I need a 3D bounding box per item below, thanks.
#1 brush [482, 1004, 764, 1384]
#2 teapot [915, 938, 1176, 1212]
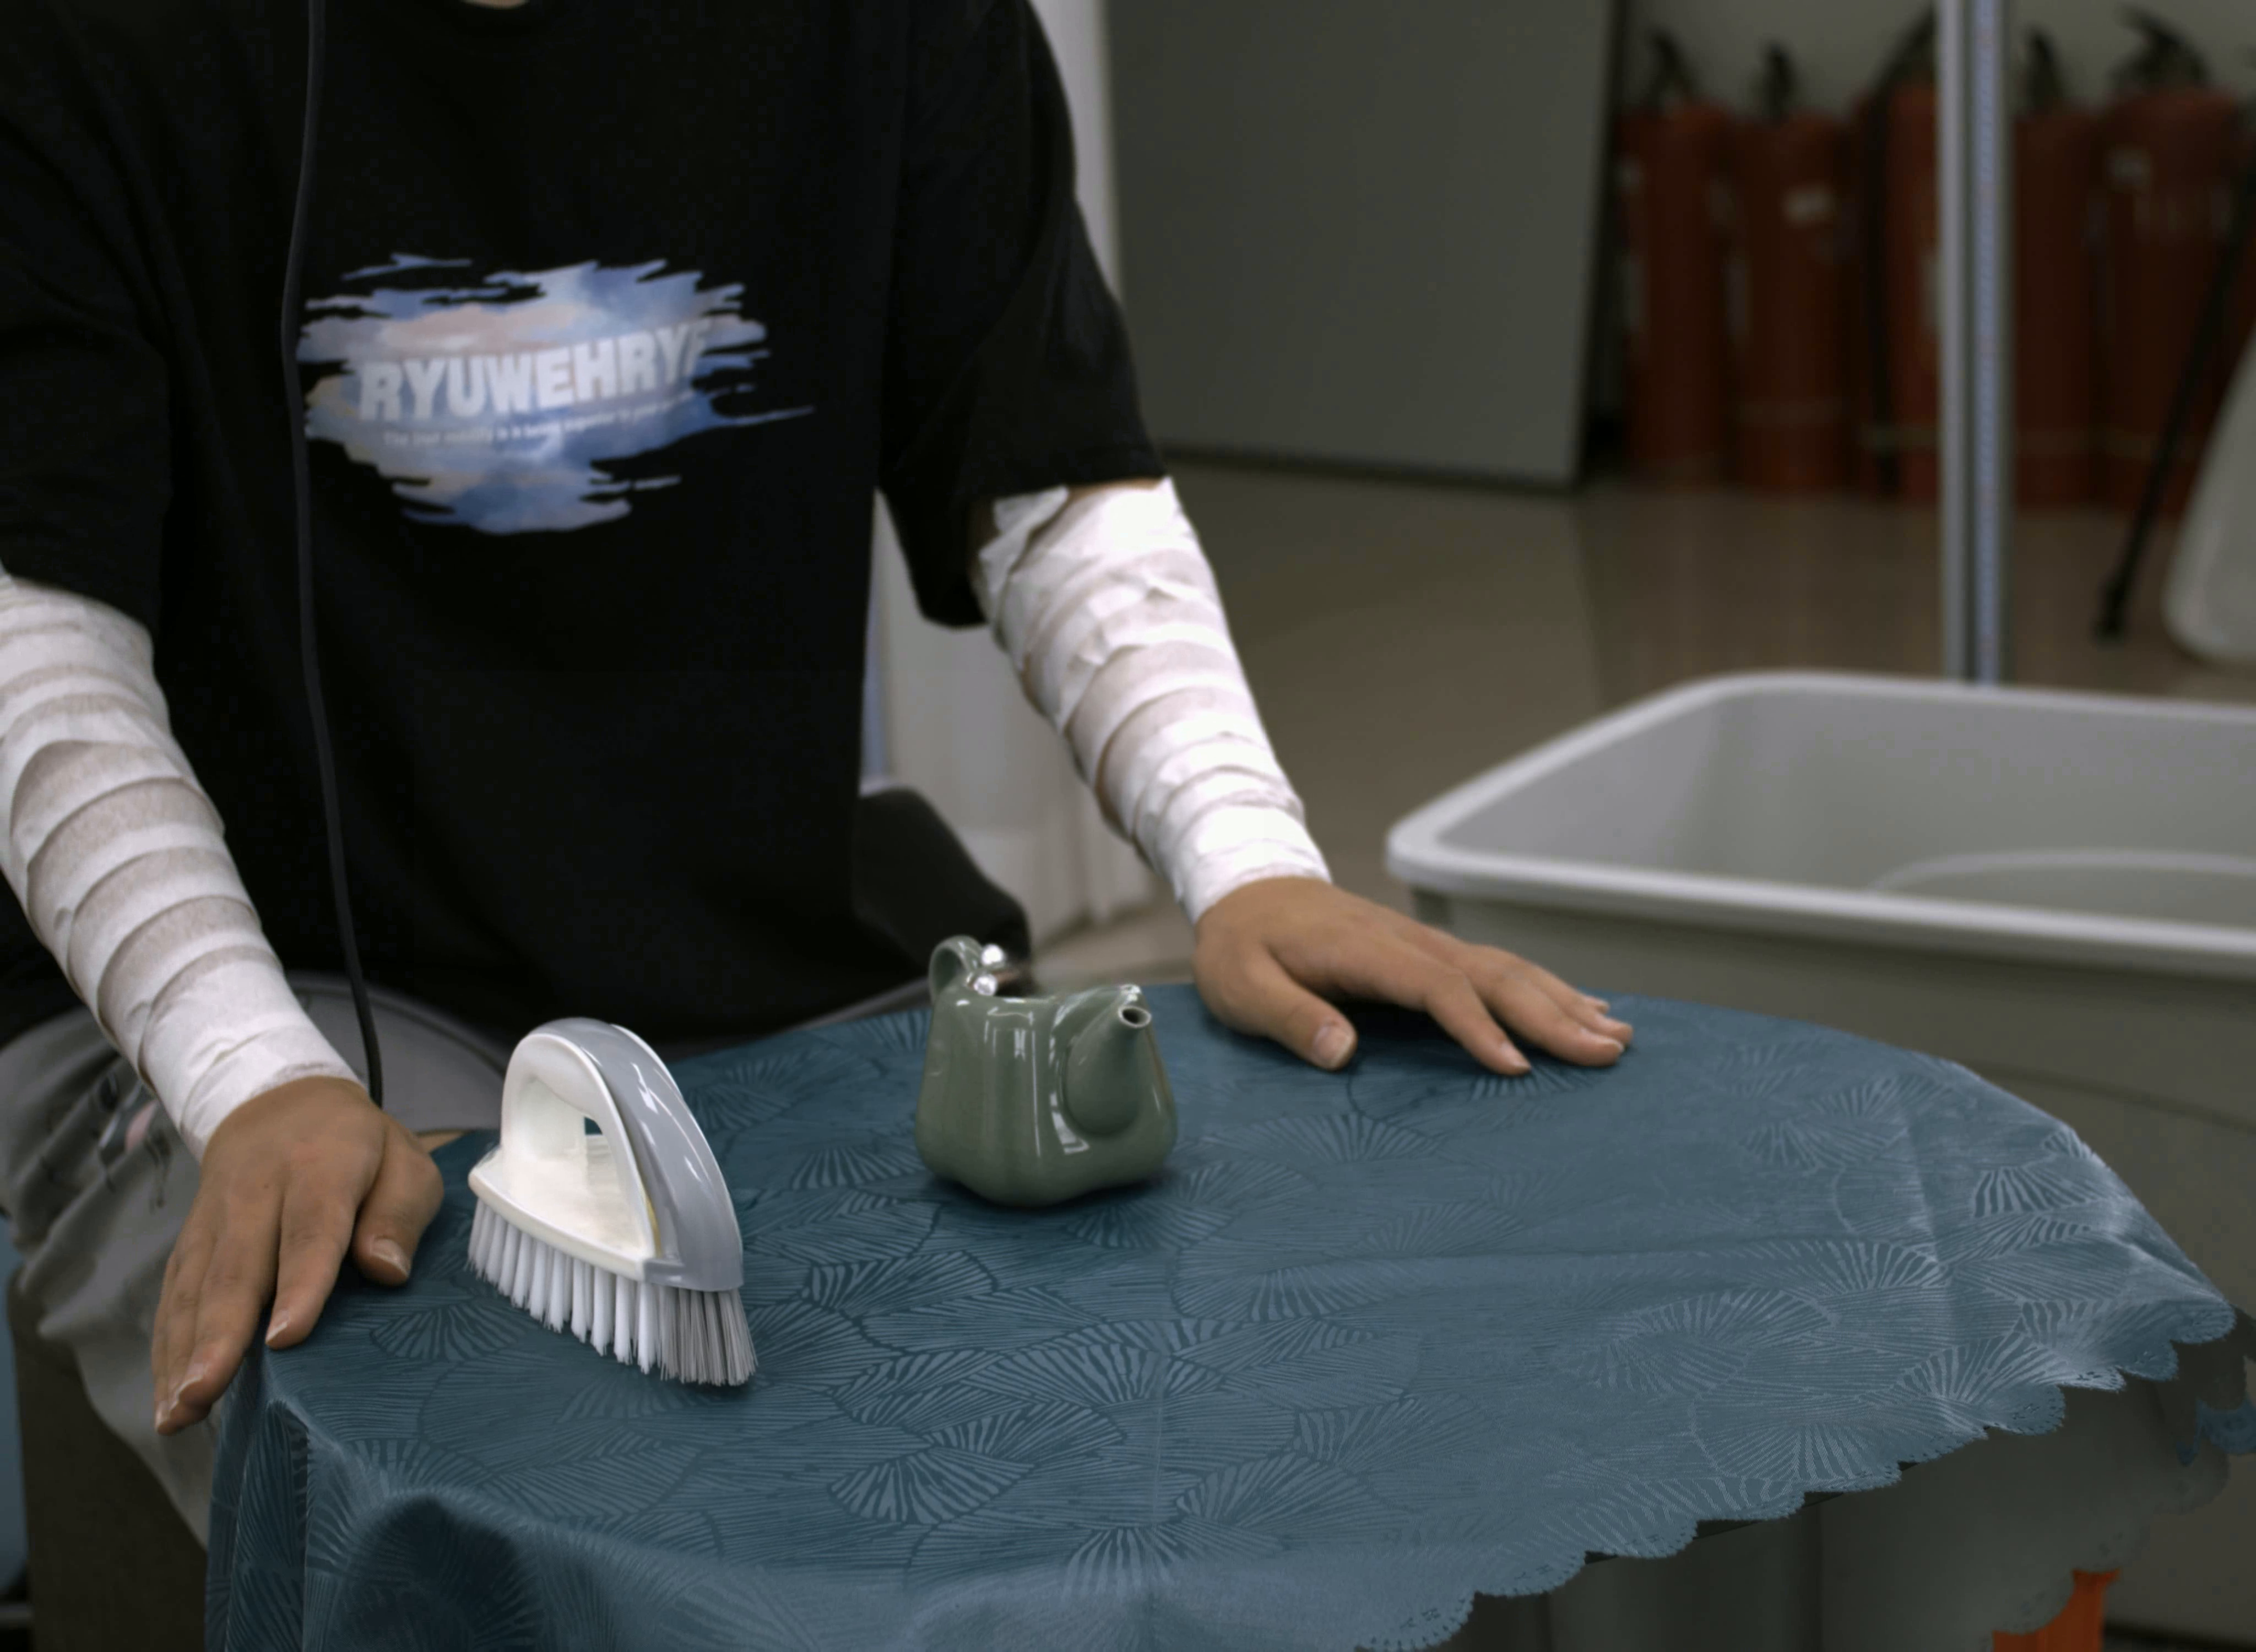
[{"bbox_3d":[-0.152,0.109,1.672,0.060,0.095,0.177,-12,17,-22],"label":"brush"},{"bbox_3d":[-0.028,0.083,1.786,0.078,0.076,0.134,-8,12,-27],"label":"teapot"}]
